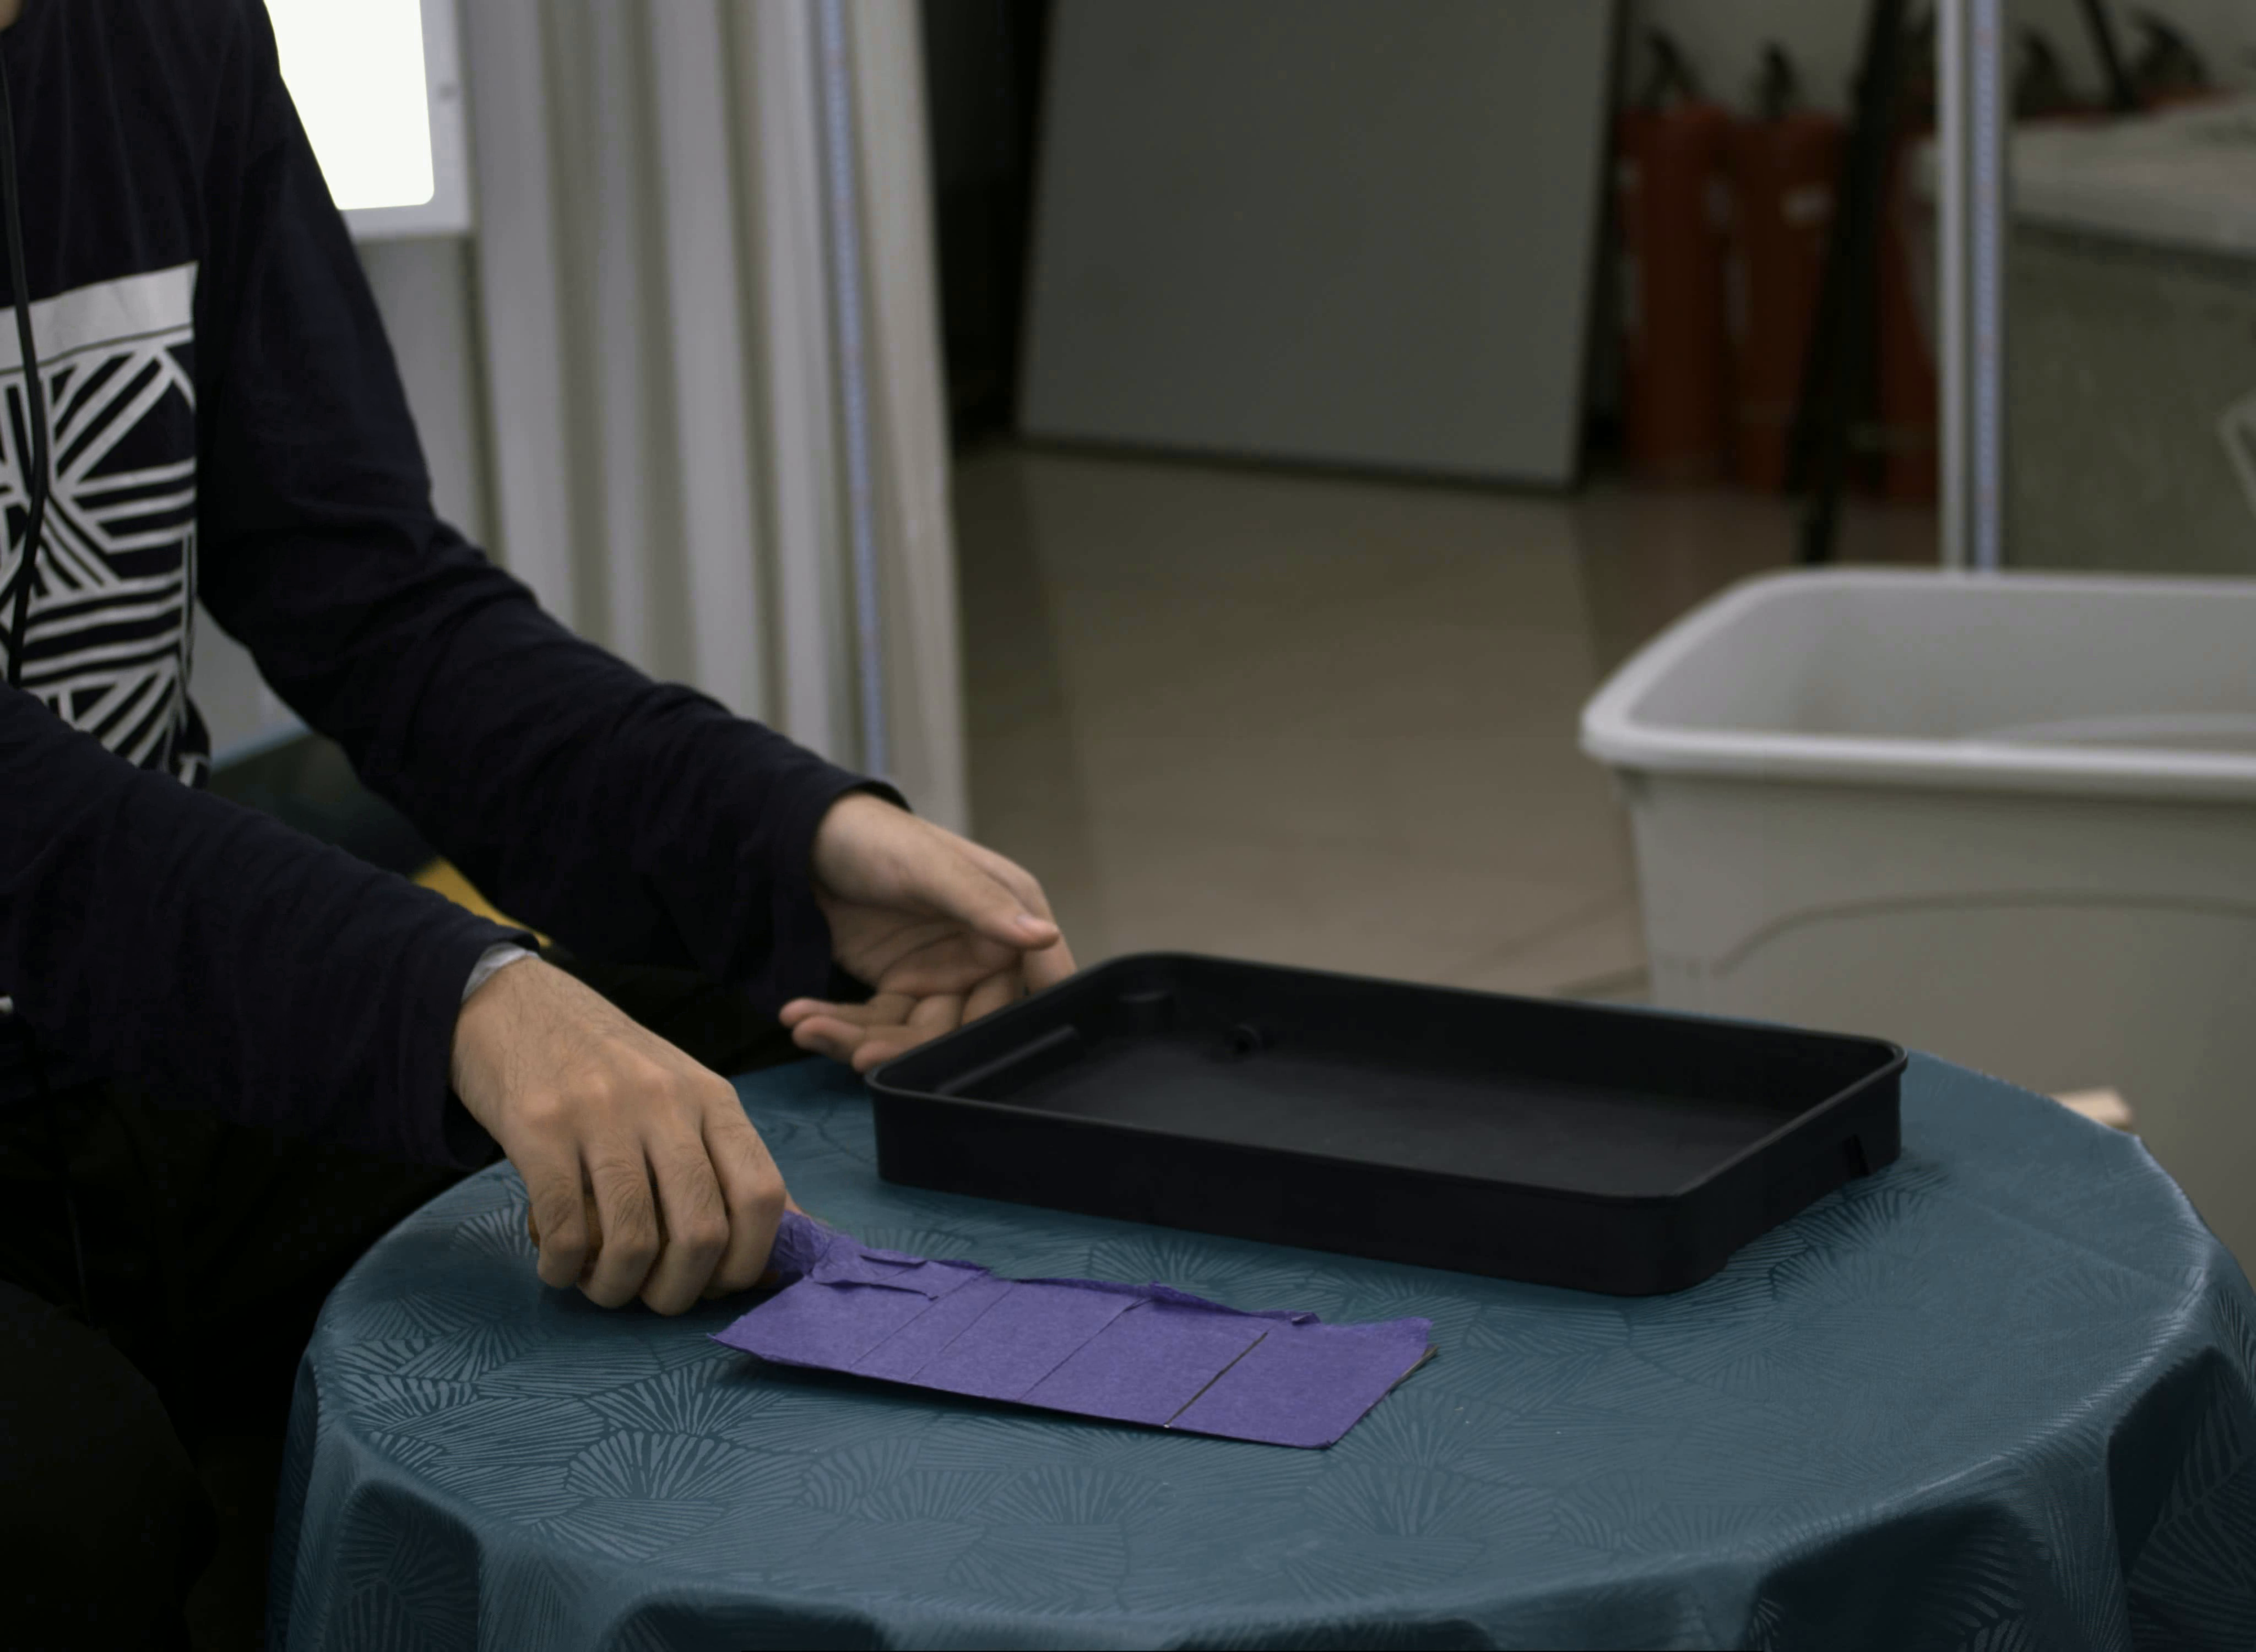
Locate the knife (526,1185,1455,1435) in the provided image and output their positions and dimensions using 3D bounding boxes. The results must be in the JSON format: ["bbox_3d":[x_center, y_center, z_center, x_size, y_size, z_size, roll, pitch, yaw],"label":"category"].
[{"bbox_3d":[-0.060,0.146,1.634,0.316,0.032,0.102,4,15,27],"label":"knife"}]

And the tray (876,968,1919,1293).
[{"bbox_3d":[0.088,0.097,1.780,0.320,0.037,0.181,3,16,34],"label":"tray"}]
